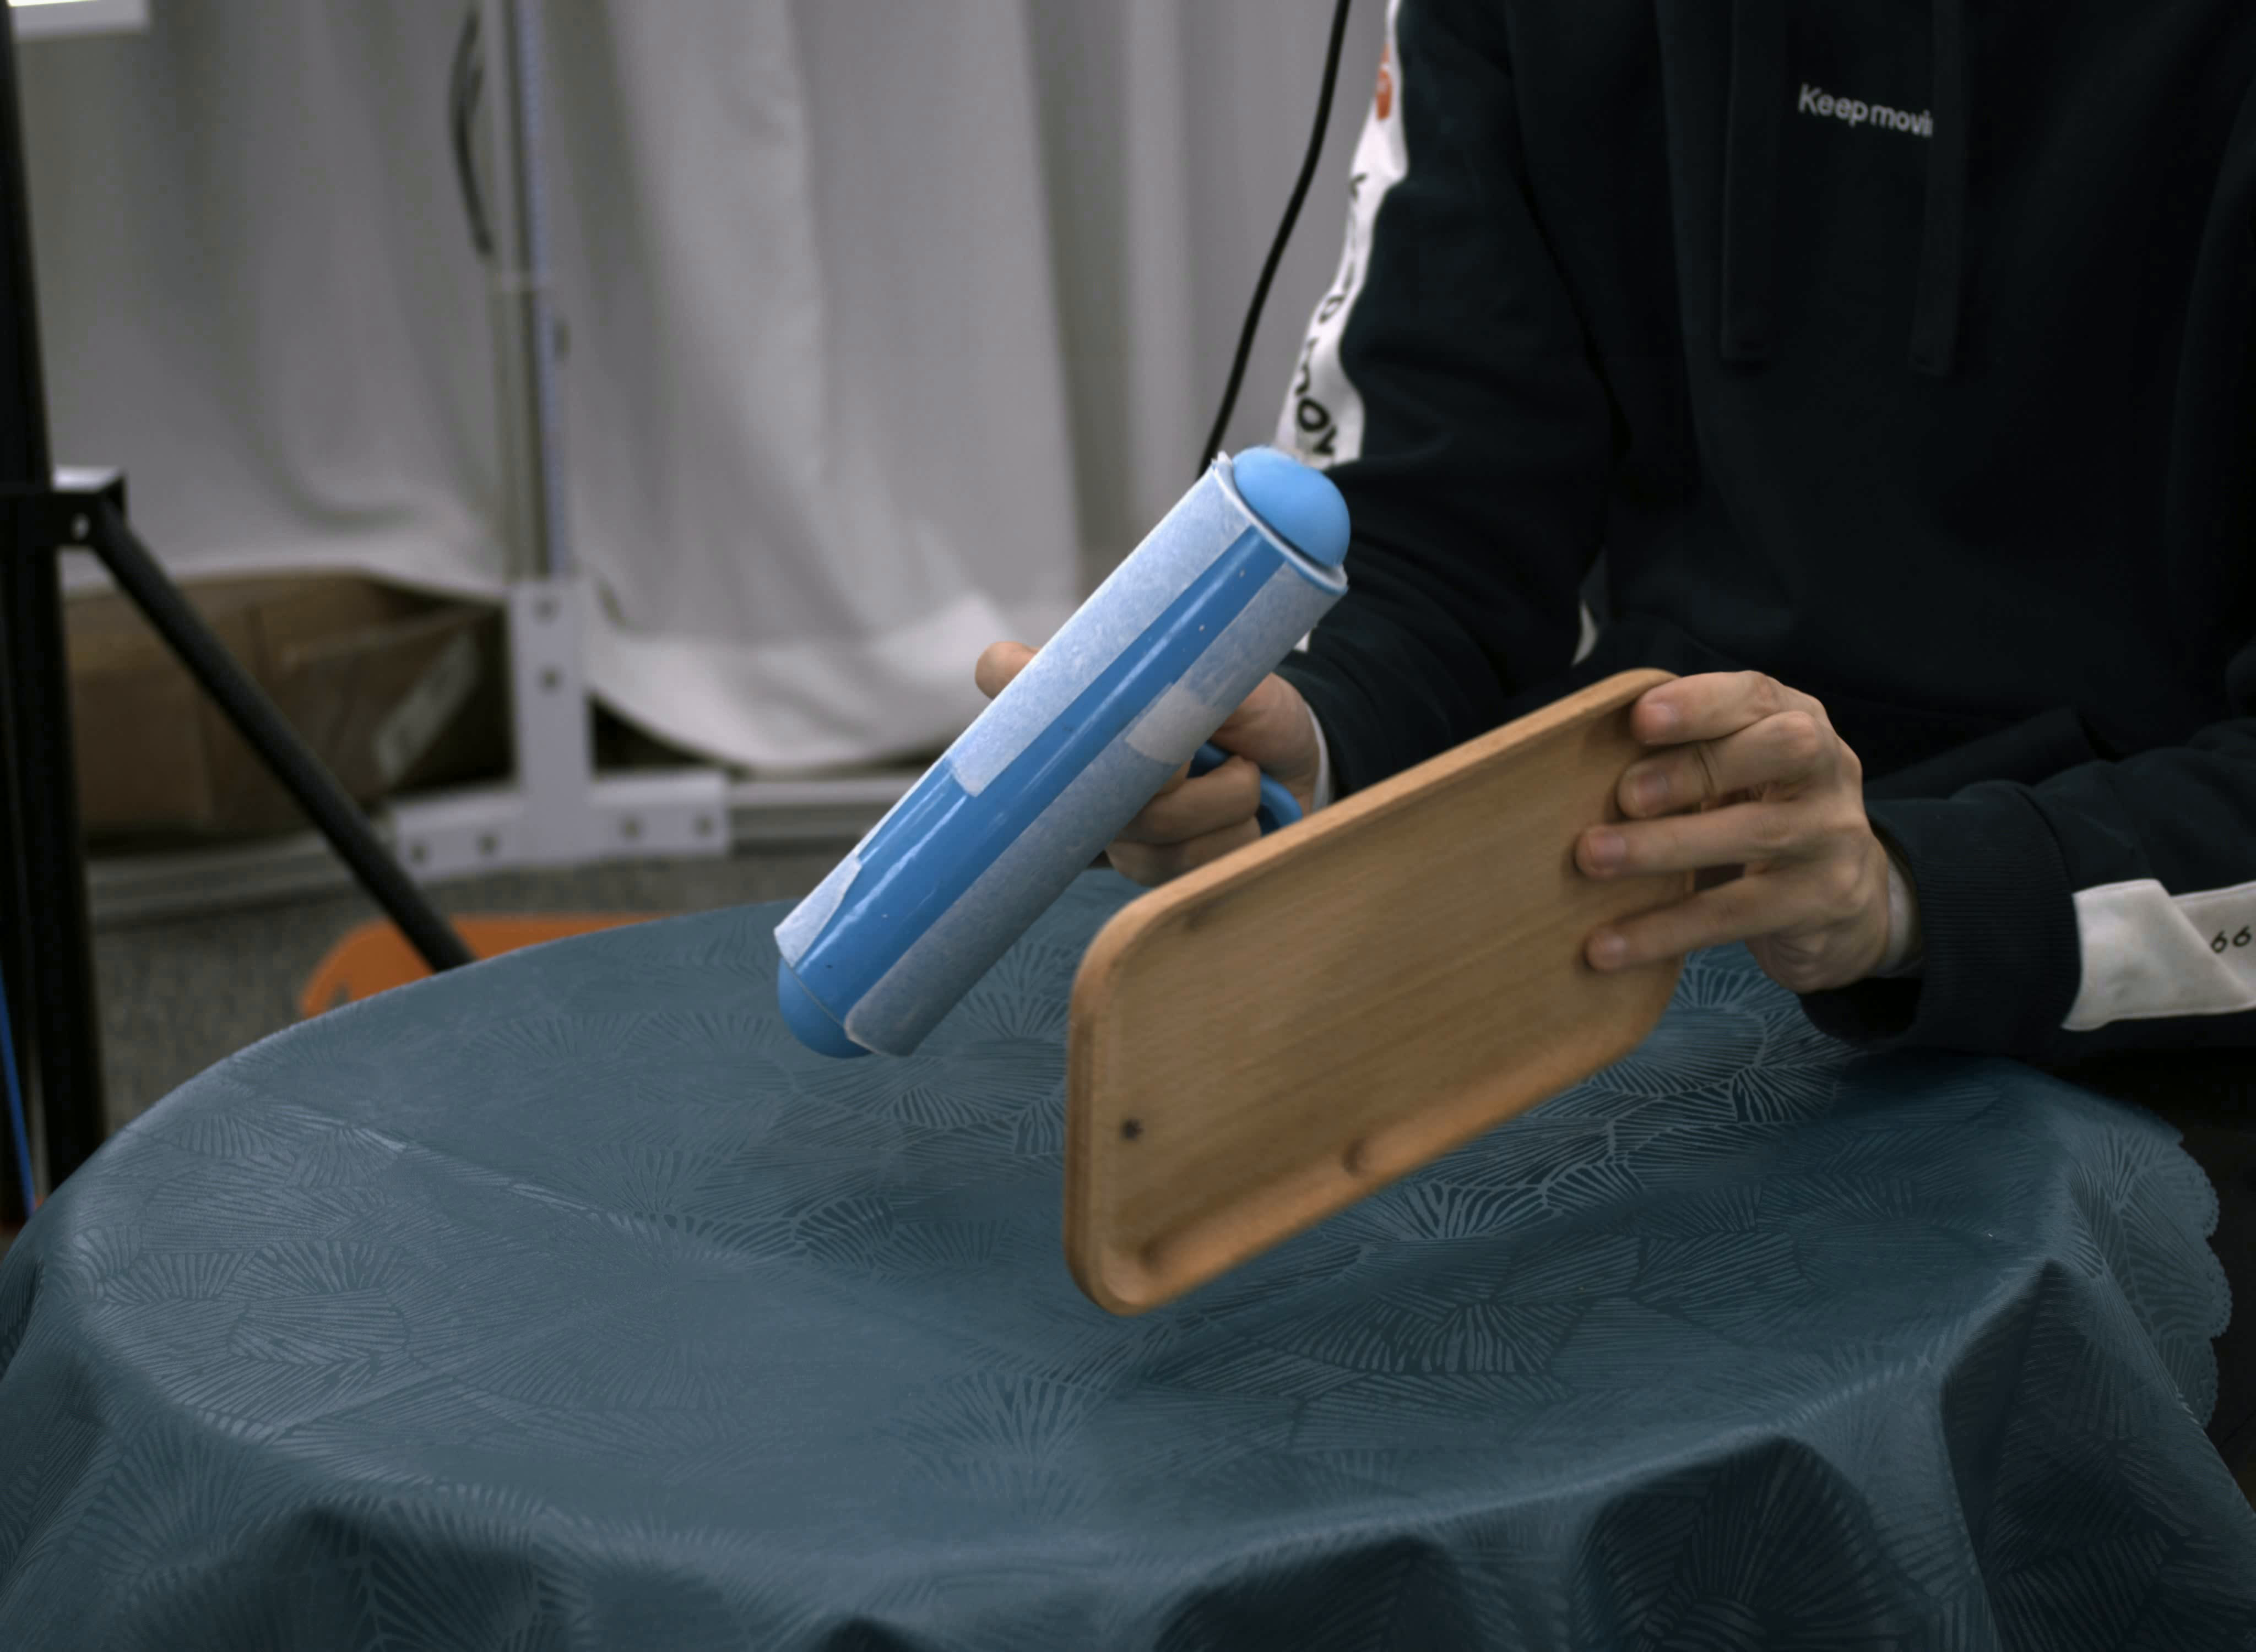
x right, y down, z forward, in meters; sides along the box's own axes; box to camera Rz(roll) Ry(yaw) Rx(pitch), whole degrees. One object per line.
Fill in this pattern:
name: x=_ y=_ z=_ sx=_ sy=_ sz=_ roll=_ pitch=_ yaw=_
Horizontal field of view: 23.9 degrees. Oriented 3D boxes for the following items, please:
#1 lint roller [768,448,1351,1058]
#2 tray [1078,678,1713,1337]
lint roller: x=-0.002 y=-0.014 z=1.597 sx=0.069 sy=0.230 sz=0.177 roll=47 pitch=12 yaw=17
tray: x=0.076 y=0.046 z=1.456 sx=0.023 sy=0.130 sz=0.245 roll=25 pitch=34 yaw=38
